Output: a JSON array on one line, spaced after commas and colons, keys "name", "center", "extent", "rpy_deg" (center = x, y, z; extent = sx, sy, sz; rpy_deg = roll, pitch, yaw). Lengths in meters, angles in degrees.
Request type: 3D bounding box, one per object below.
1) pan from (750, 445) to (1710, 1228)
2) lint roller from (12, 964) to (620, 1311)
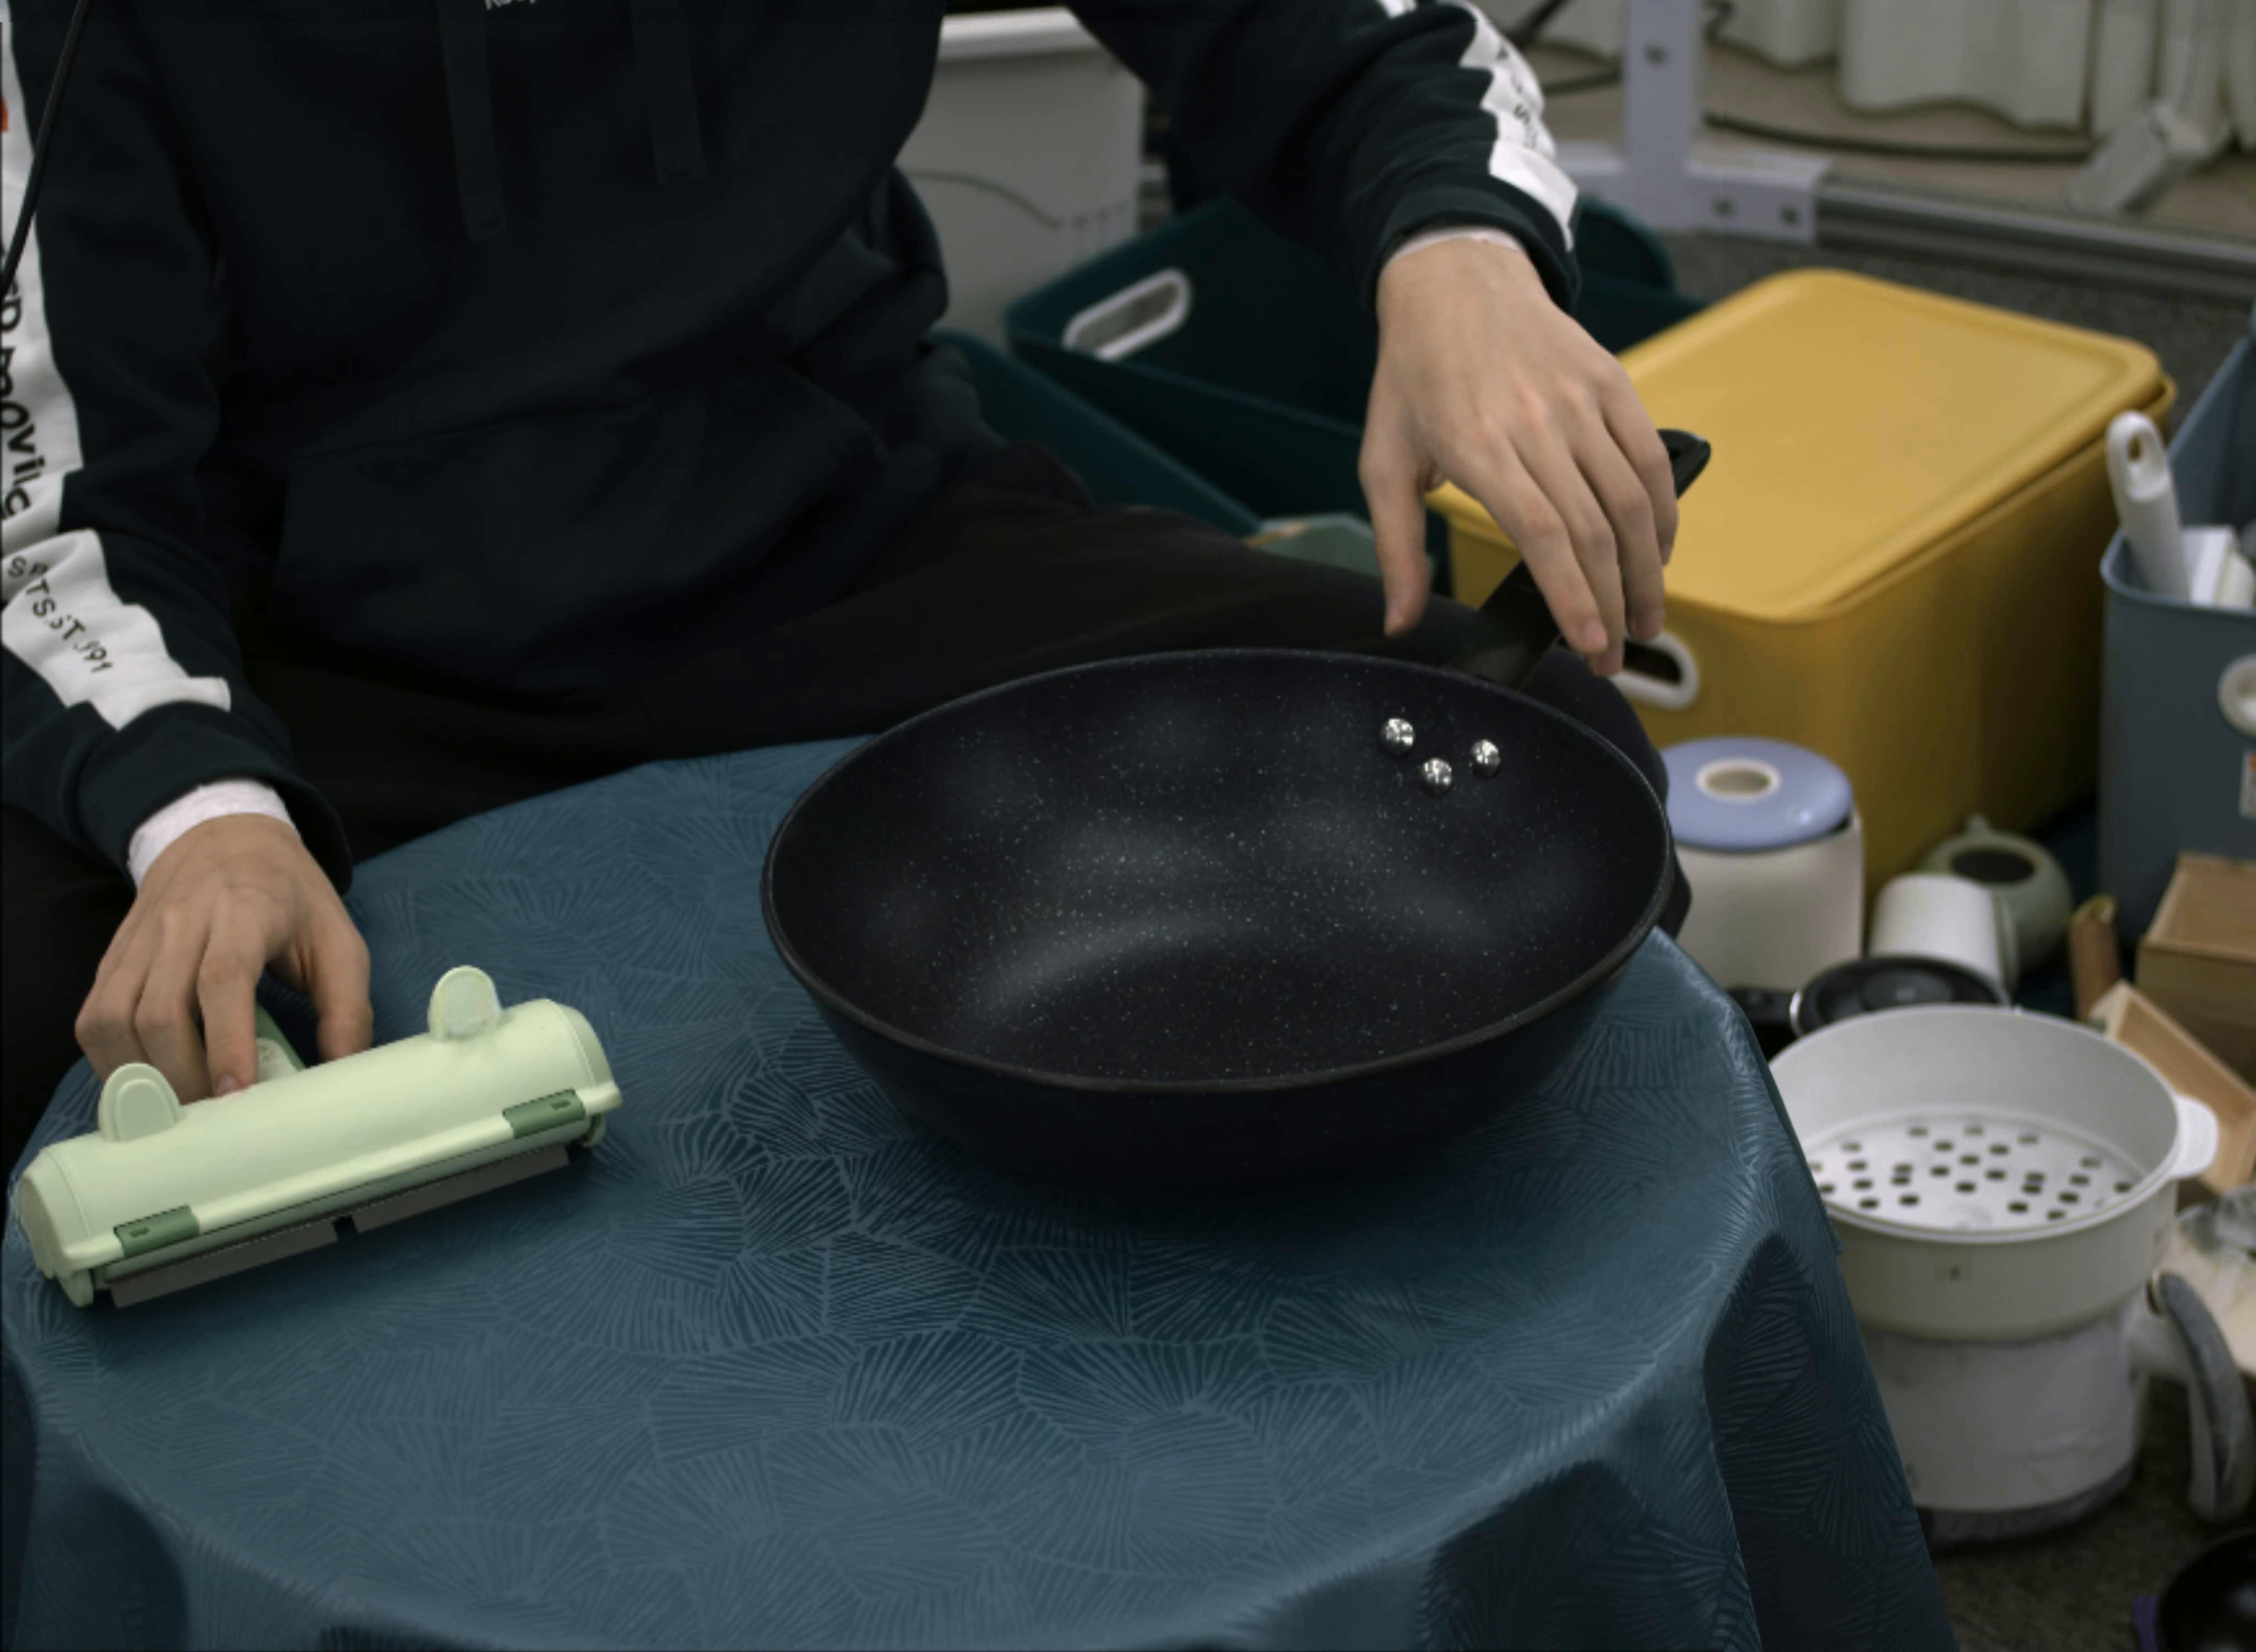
[{"name": "pan", "center": [0.075, 0.006, 1.962], "extent": [0.309, 0.110, 0.484], "rpy_deg": [16, 34, 30]}, {"name": "lint roller", "center": [-0.293, 0.077, 1.895], "extent": [0.199, 0.081, 0.184], "rpy_deg": [-16, 35, -24]}]
